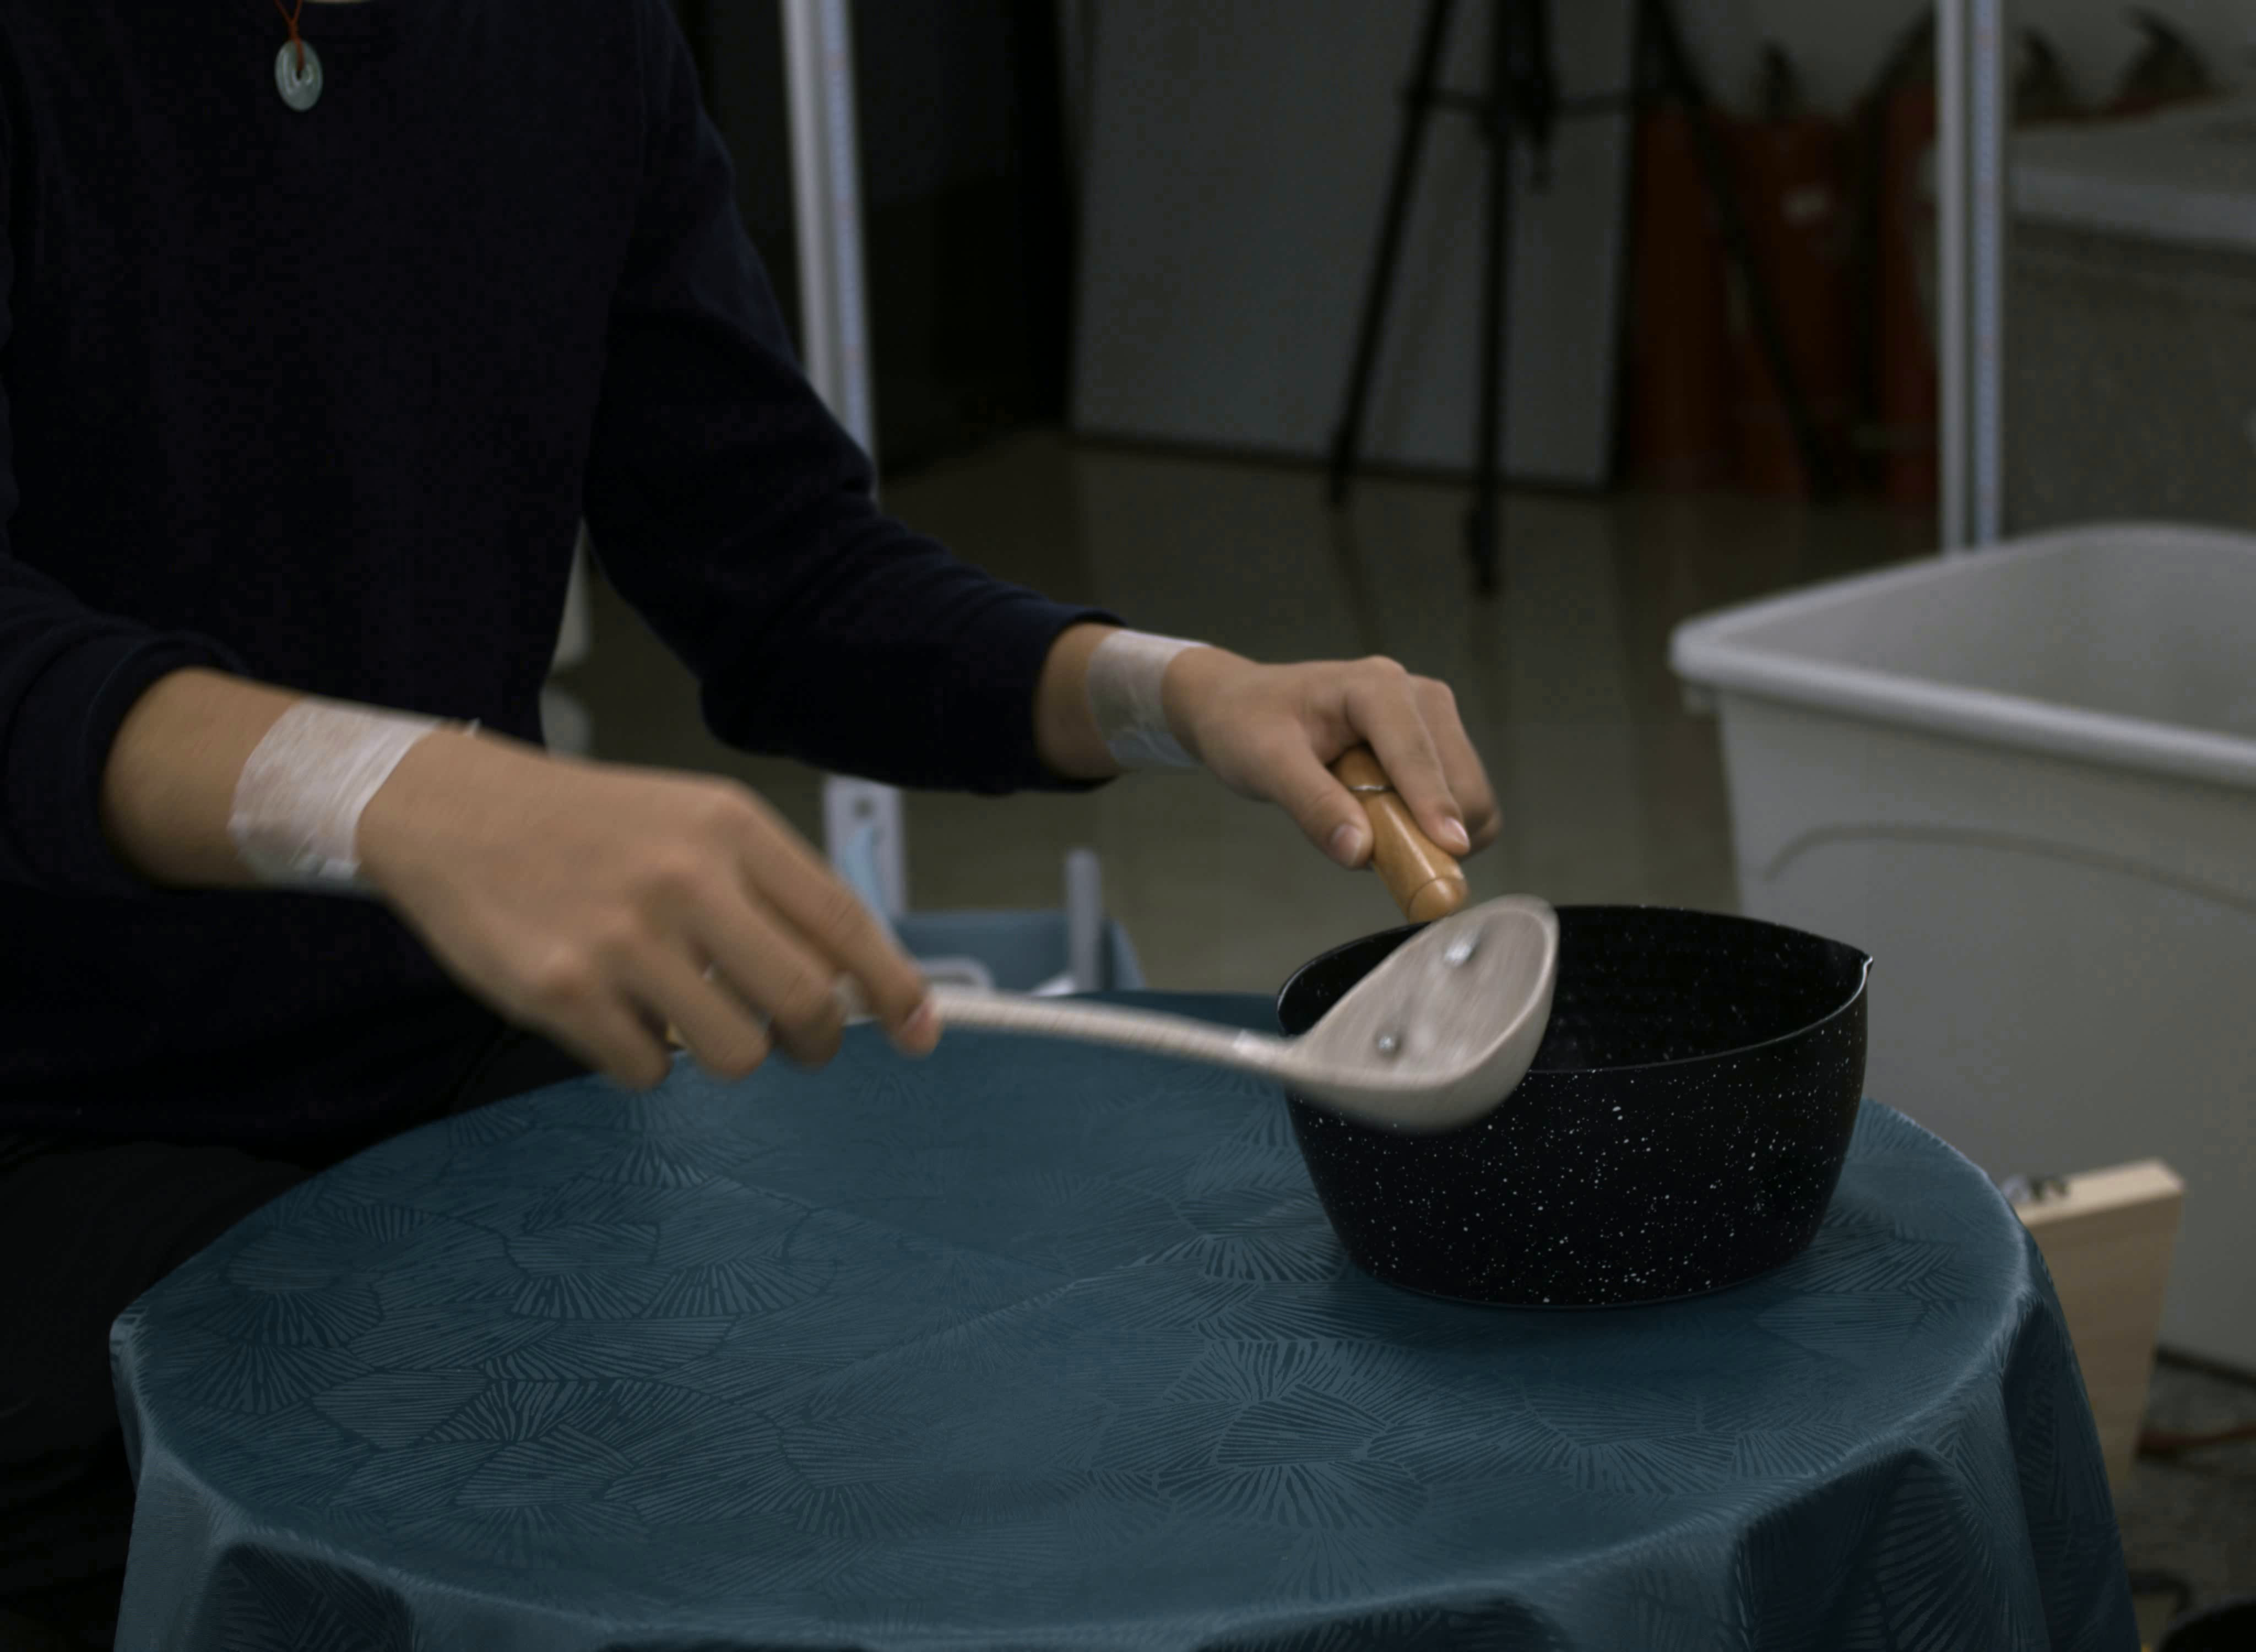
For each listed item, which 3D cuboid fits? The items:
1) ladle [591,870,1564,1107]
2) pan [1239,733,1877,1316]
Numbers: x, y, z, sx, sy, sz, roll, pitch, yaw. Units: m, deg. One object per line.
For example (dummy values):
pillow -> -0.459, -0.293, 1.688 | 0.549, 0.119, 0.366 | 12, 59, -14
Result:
ladle -> -0.010, 0.030, 1.491 | 0.269, 0.070, 0.090 | 9, 17, -18
pan -> 0.119, 0.059, 1.758 | 0.203, 0.109, 0.345 | -8, 16, -13
